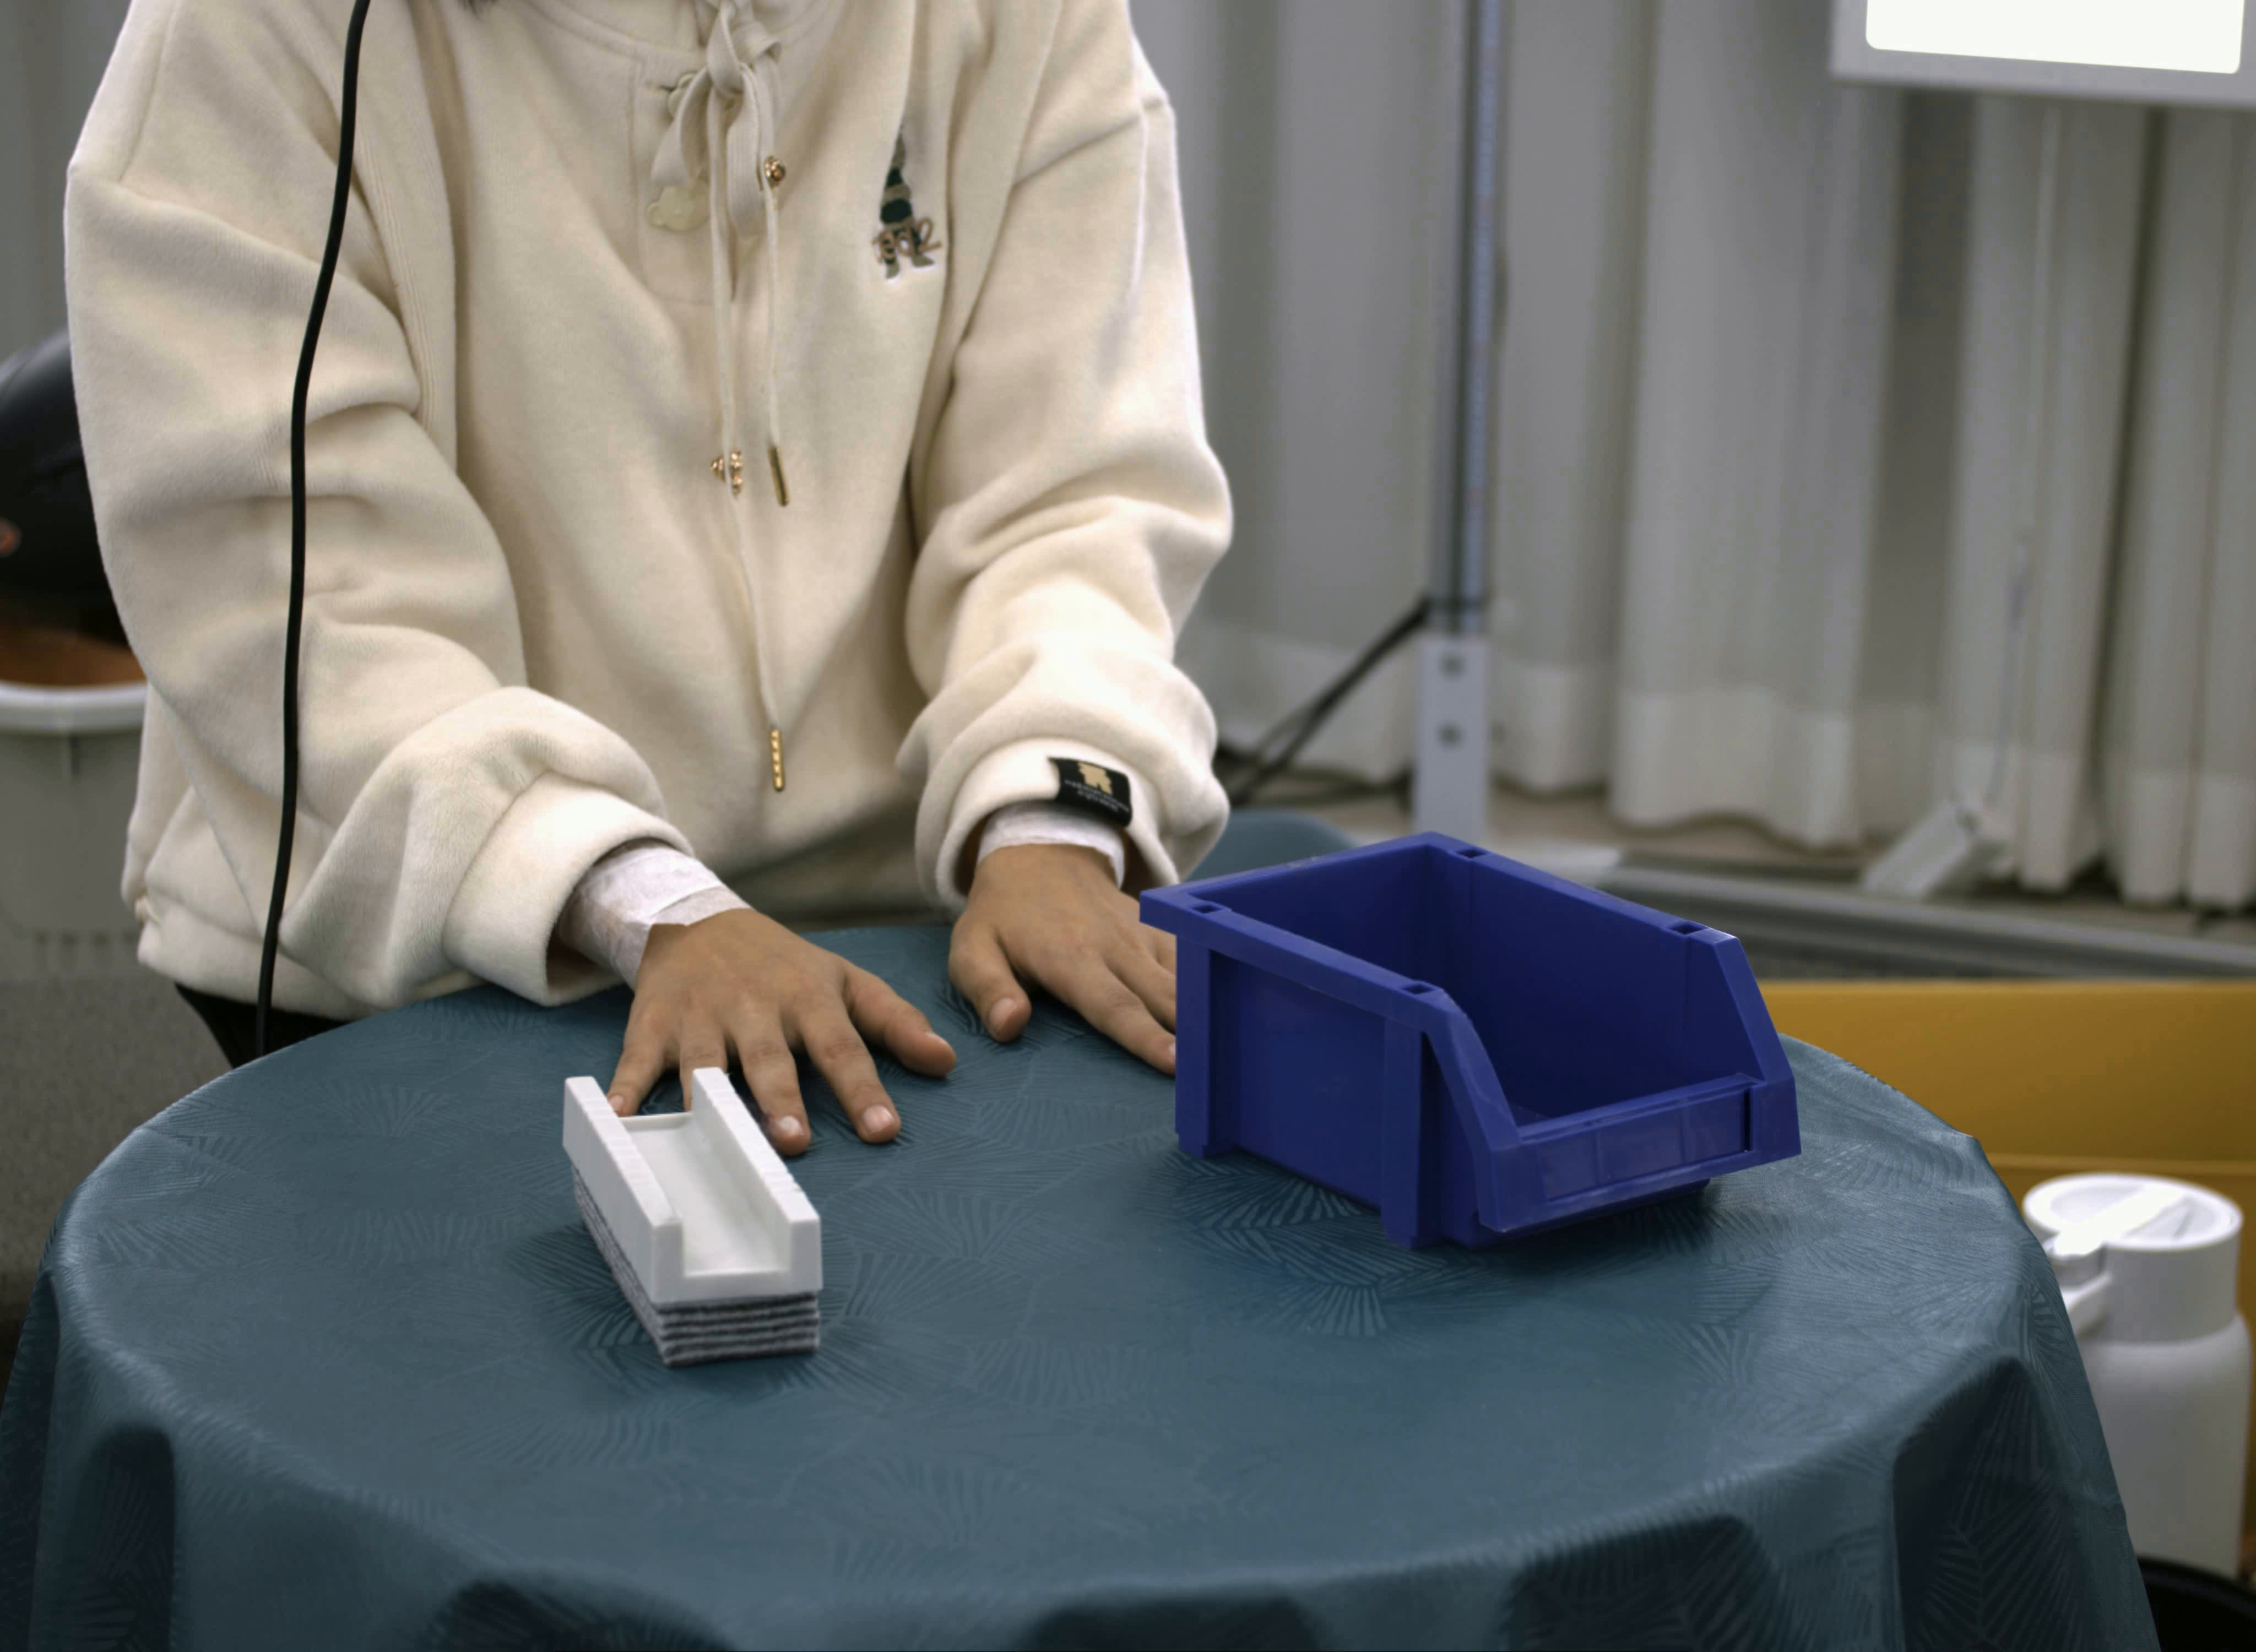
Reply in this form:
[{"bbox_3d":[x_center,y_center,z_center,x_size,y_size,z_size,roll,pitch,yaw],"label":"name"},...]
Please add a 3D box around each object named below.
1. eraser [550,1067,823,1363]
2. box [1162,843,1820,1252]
[{"bbox_3d":[-0.130,0.112,1.530,0.050,0.047,0.133,-6,19,-18],"label":"eraser"},{"bbox_3d":[0.112,0.070,1.624,0.125,0.082,0.177,-10,17,-33],"label":"box"}]
